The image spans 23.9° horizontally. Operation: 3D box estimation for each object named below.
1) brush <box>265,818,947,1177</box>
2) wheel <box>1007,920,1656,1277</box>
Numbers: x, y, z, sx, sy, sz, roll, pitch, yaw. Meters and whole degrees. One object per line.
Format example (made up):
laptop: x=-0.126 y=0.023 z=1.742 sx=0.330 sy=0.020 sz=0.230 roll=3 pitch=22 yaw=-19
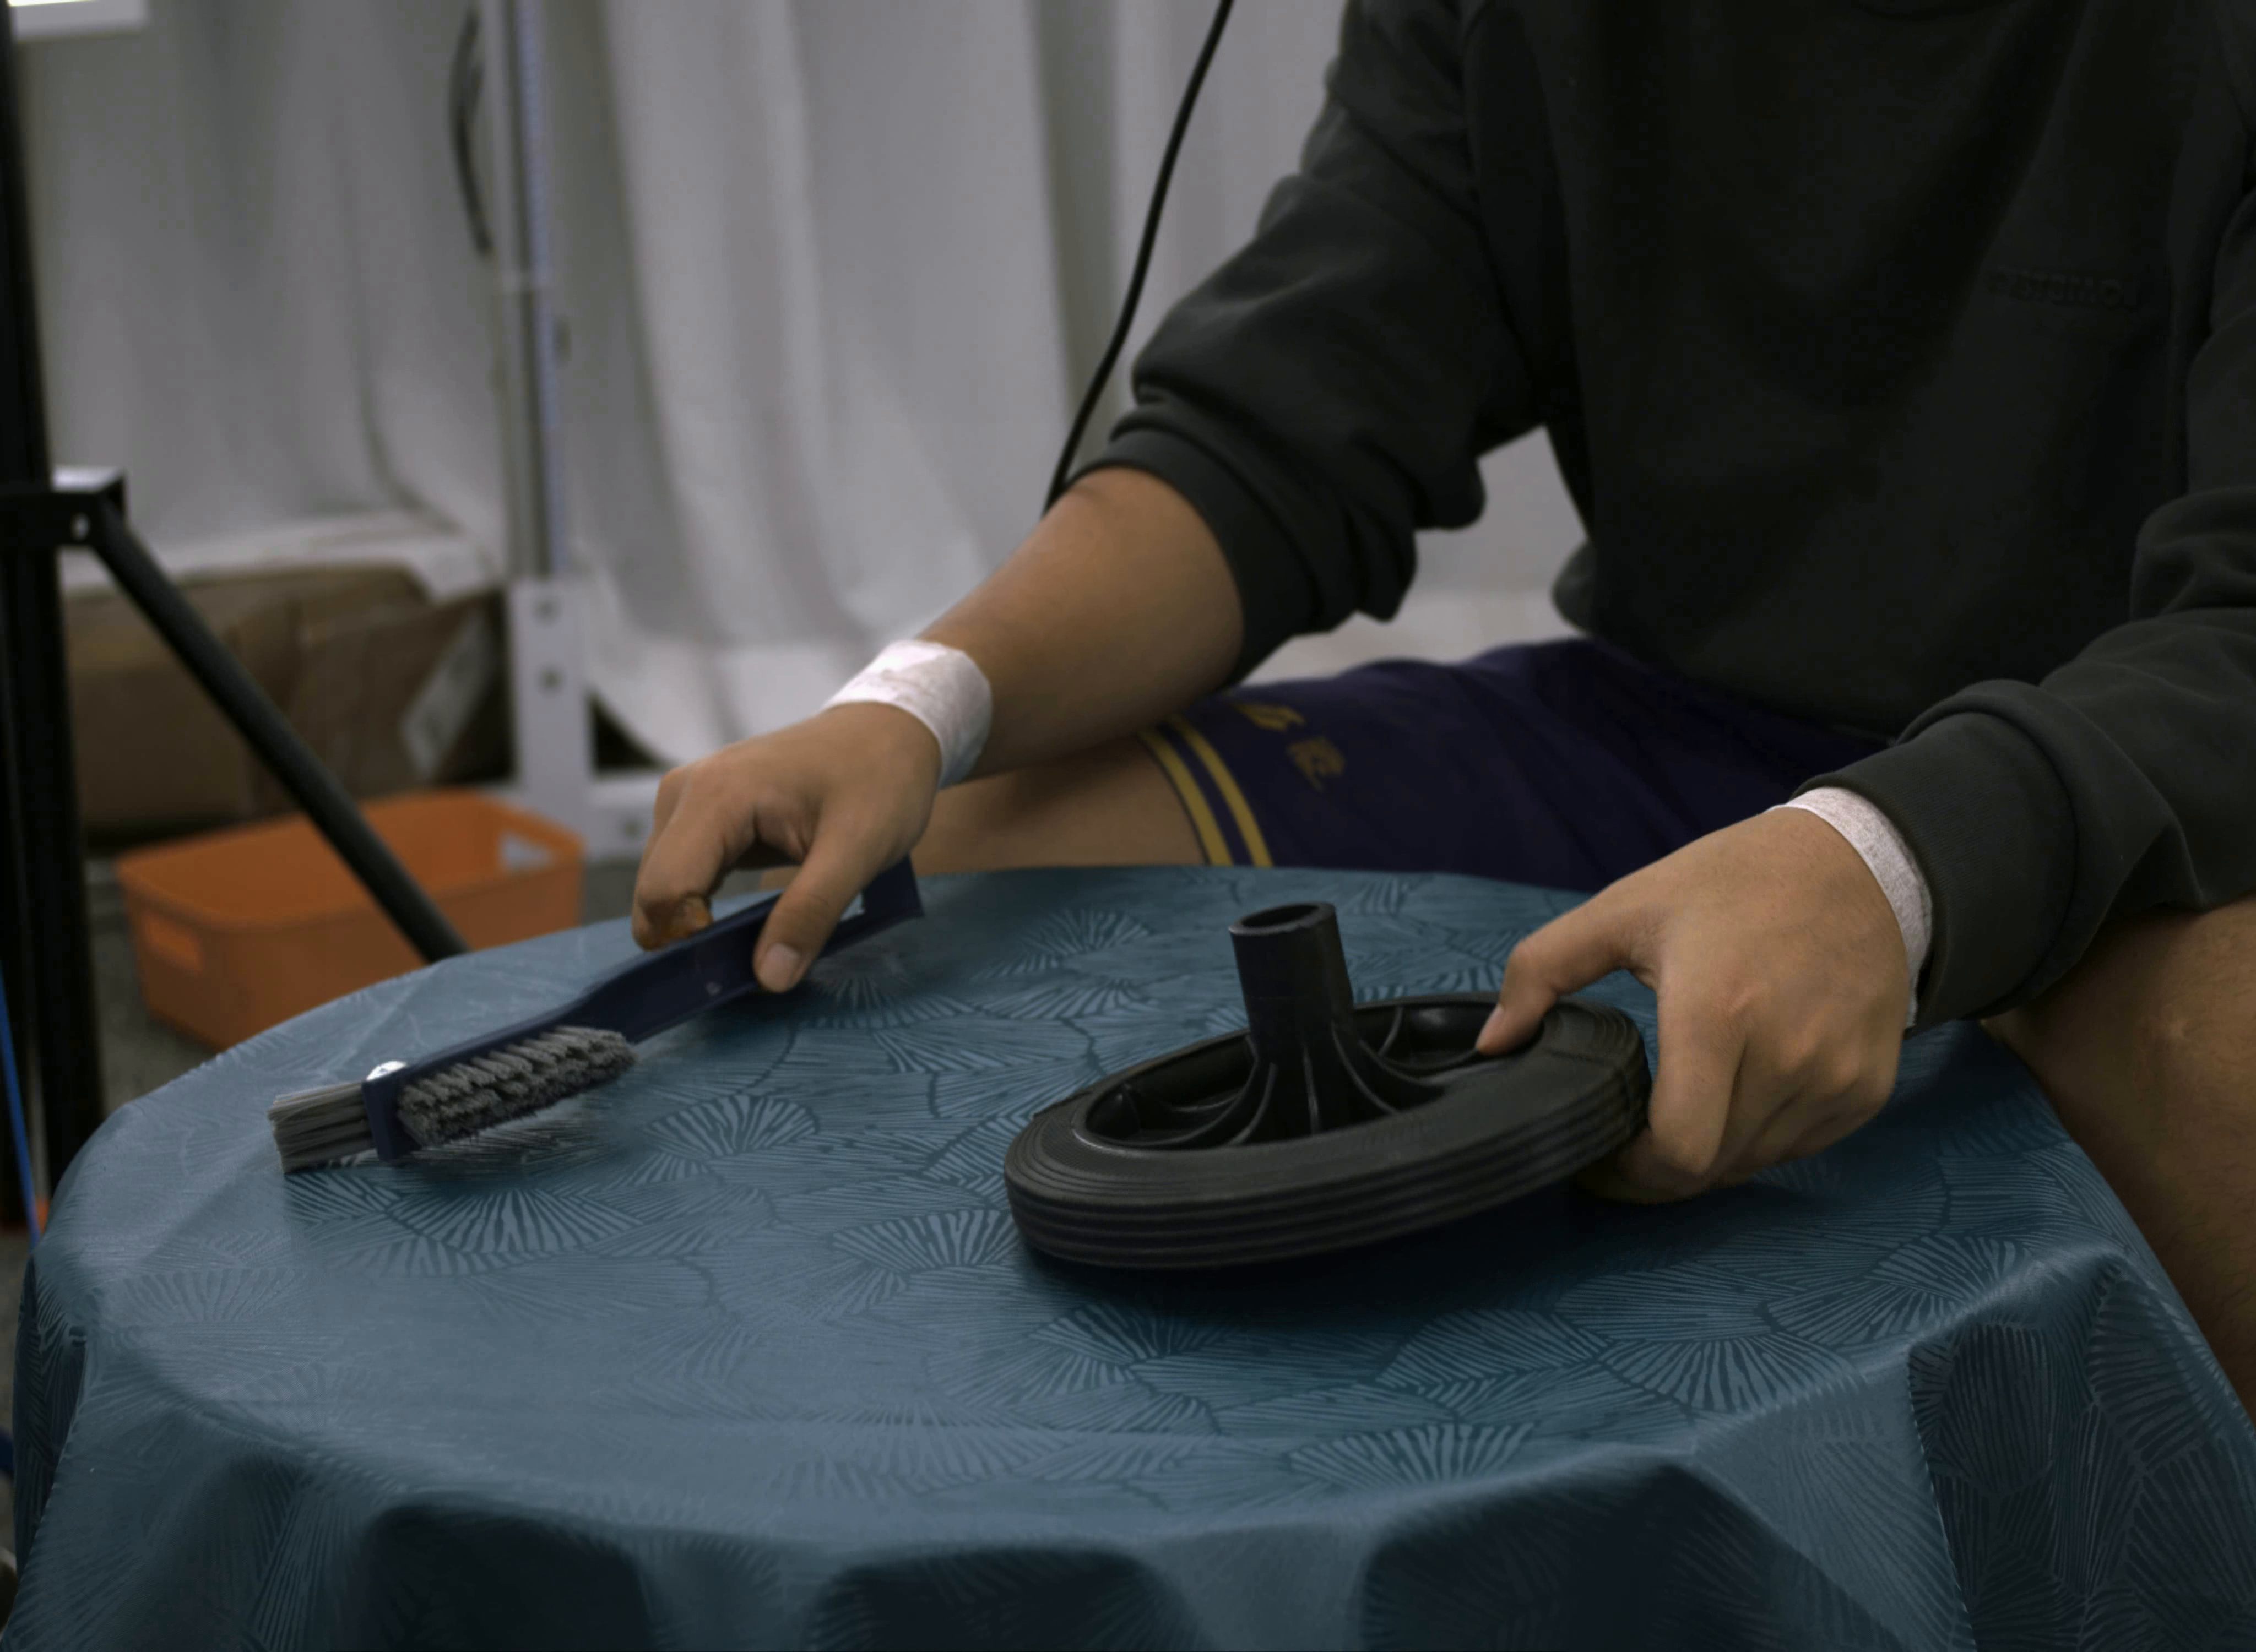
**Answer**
brush: x=-0.157 y=0.053 z=1.706 sx=0.097 sy=0.033 sz=0.268 roll=-7 pitch=12 yaw=34
wheel: x=0.054 y=0.069 z=1.518 sx=0.186 sy=0.079 sz=0.191 roll=-17 pitch=12 yaw=-26
